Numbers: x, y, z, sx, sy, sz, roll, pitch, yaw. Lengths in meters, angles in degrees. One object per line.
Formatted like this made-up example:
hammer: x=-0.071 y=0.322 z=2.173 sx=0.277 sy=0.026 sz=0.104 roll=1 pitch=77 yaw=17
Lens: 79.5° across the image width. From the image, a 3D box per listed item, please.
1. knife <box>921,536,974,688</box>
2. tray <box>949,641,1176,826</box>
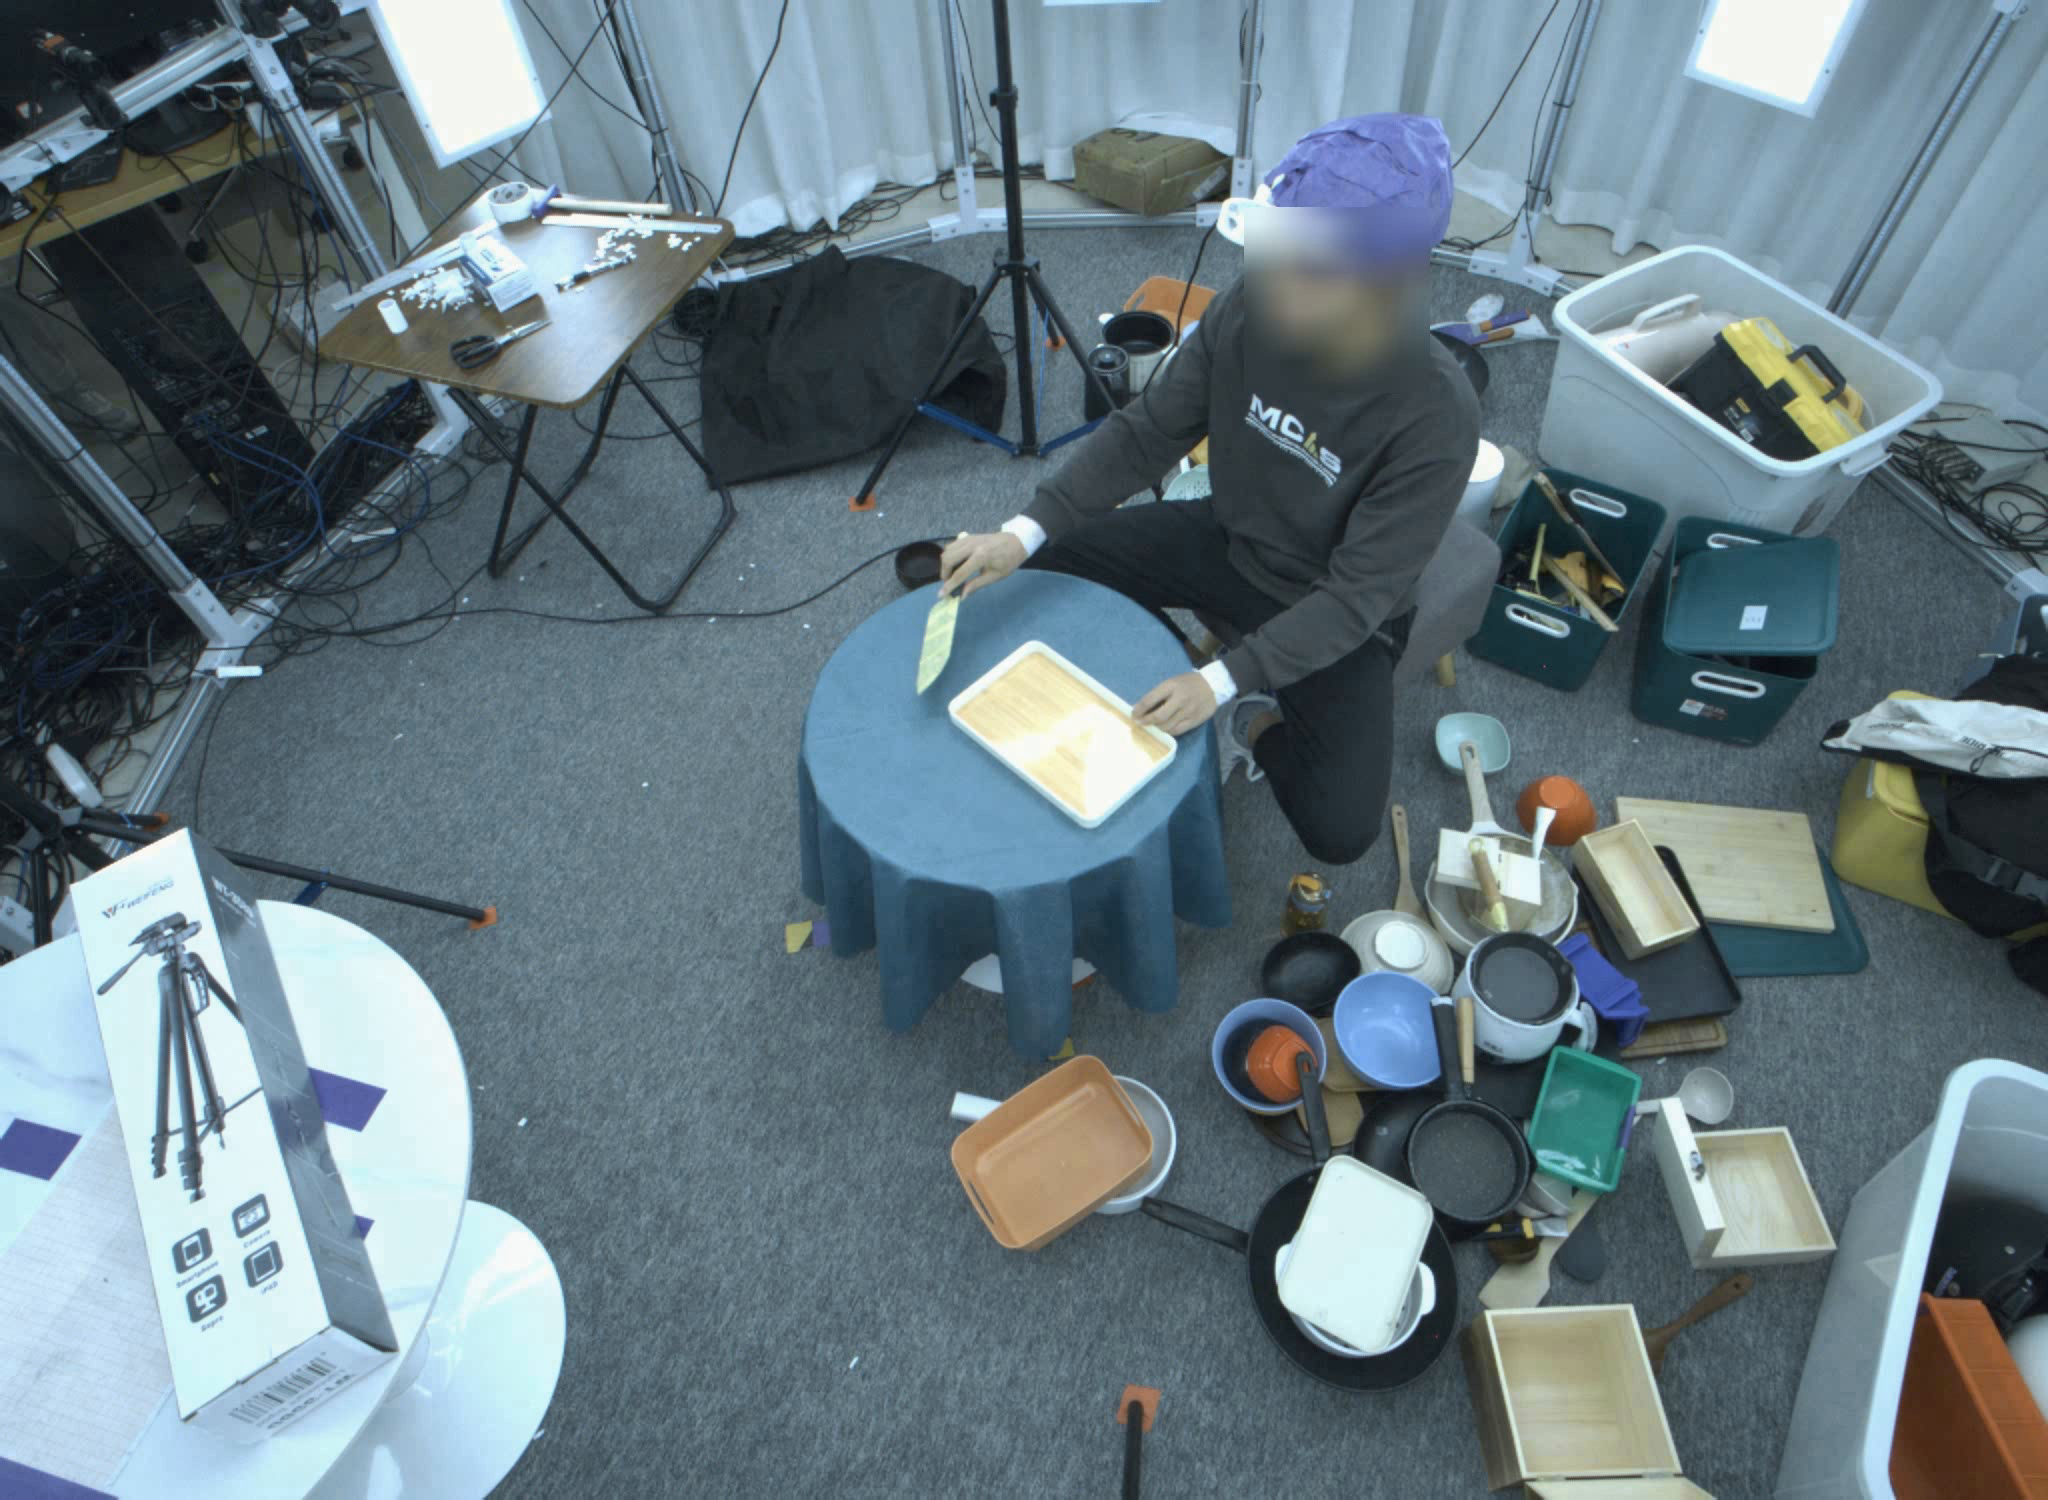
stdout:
knife: x=-0.118 y=-0.212 z=1.865 sx=0.080 sy=0.028 sz=0.287 roll=-21 pitch=47 yaw=40
tray: x=0.054 y=-0.030 z=1.799 sx=0.295 sy=0.027 sz=0.193 roll=39 pitch=63 yaw=25
